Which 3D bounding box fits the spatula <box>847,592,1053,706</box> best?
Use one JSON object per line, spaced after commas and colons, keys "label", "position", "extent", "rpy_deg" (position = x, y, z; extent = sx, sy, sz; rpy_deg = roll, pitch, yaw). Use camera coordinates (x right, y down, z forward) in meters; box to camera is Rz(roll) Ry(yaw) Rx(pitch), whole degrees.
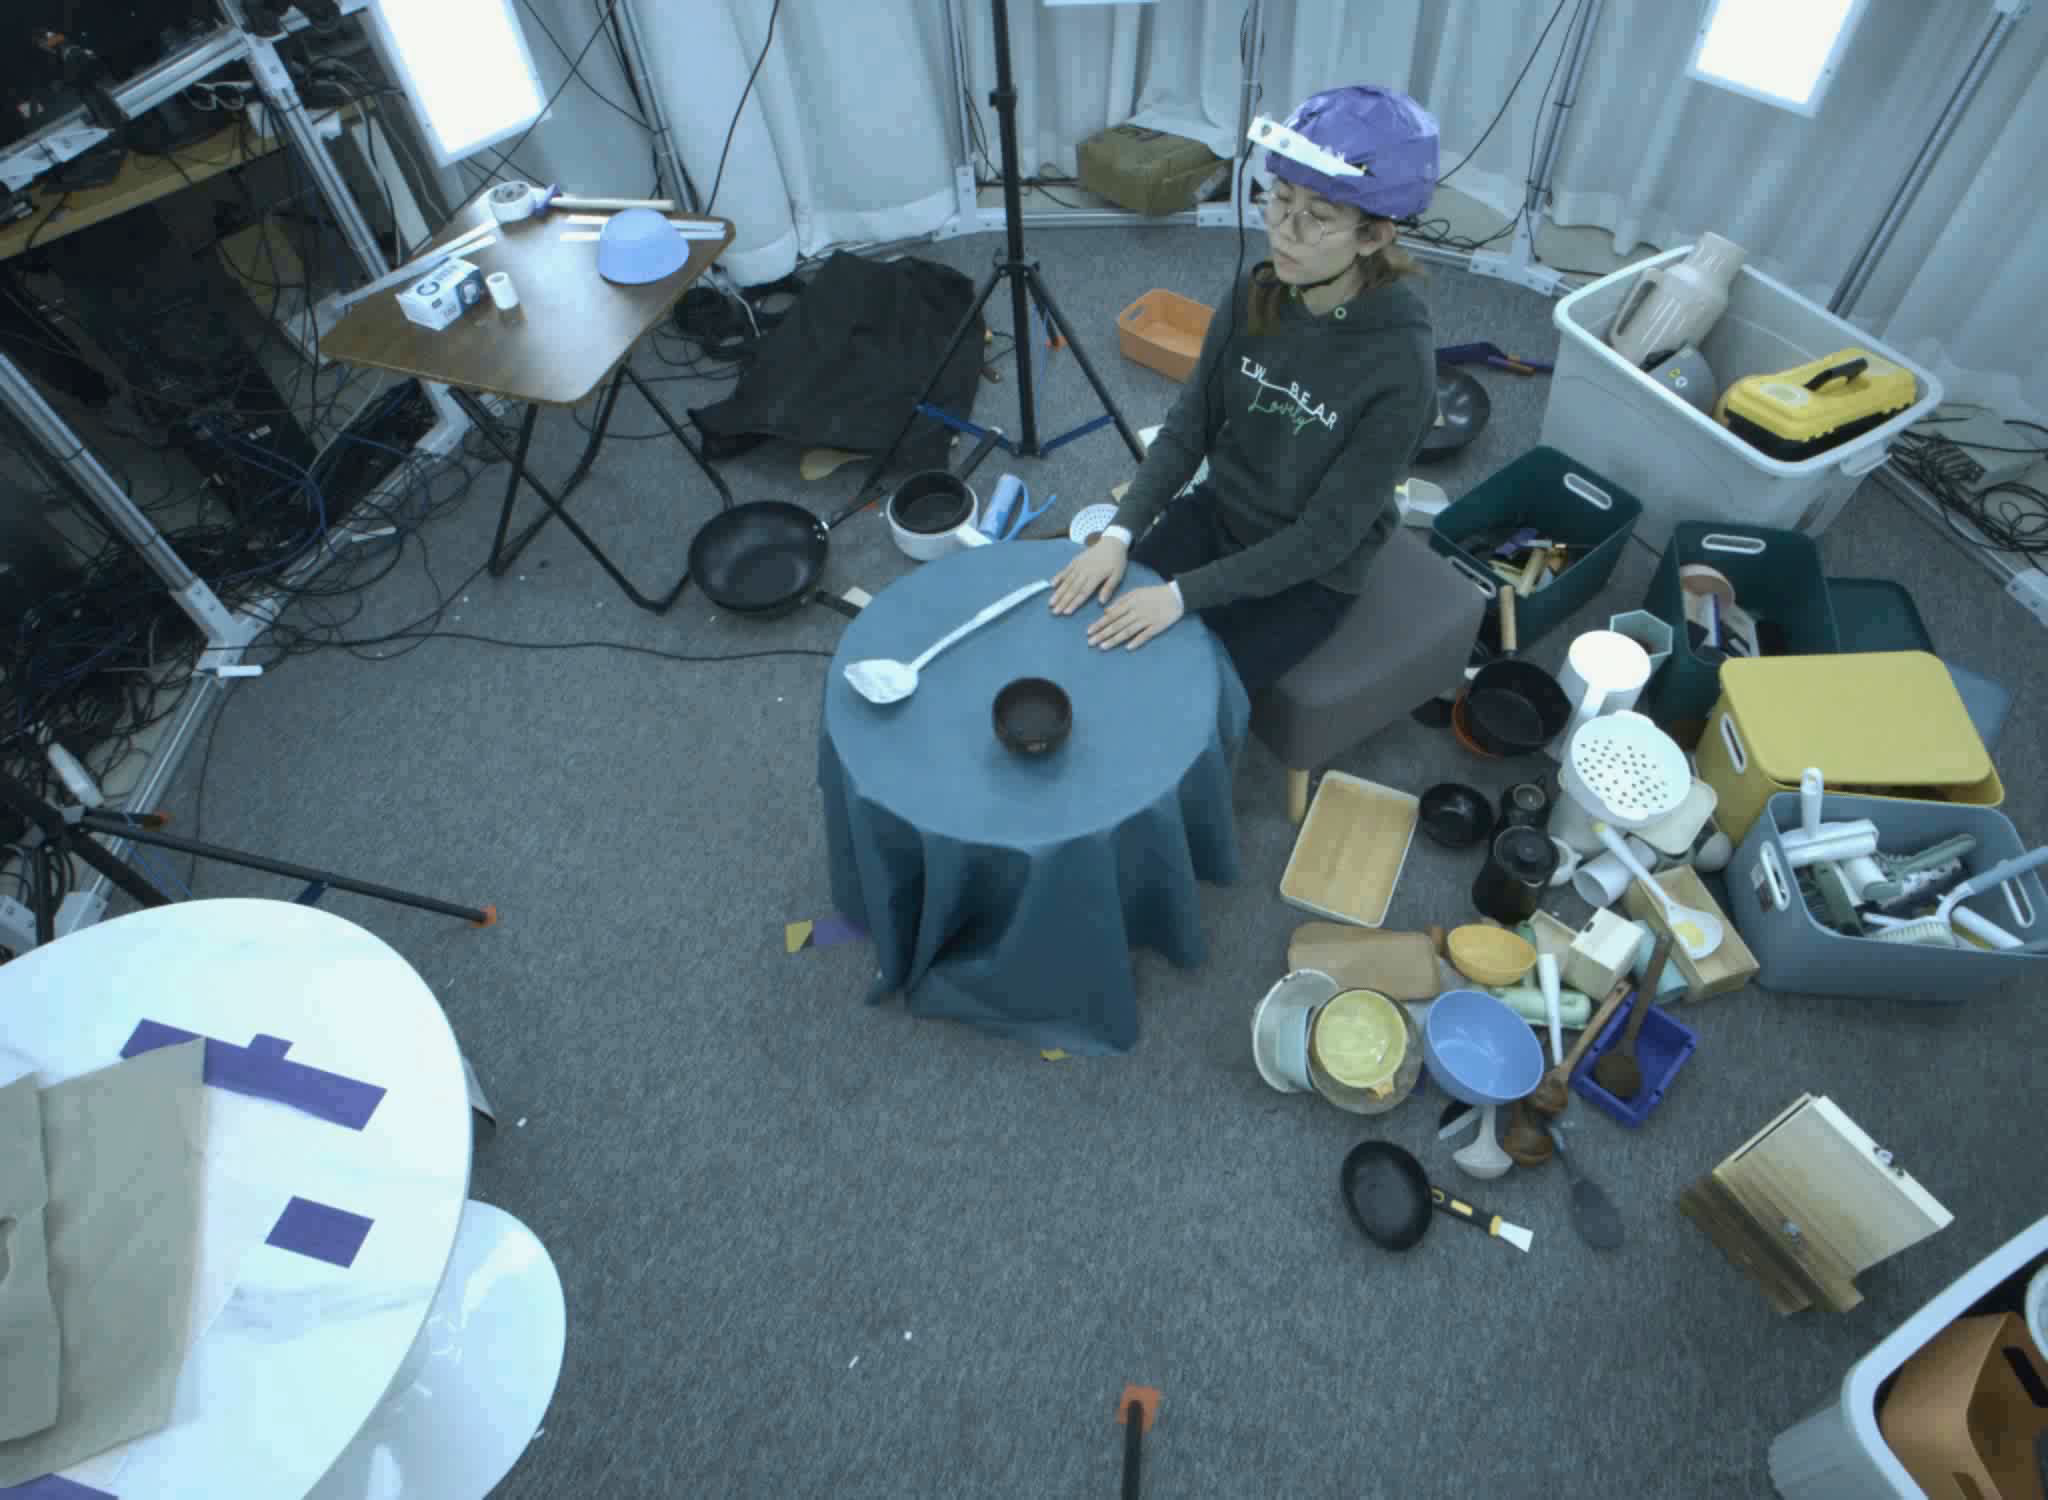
{"label": "spatula", "position": [-0.105, -0.170, 1.897], "extent": [0.368, 0.045, 0.097], "rpy_deg": [-34, 59, -20]}

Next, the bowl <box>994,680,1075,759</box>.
{"label": "bowl", "position": [0.015, -0.036, 1.779], "extent": [0.118, 0.070, 0.117], "rpy_deg": [1, 55, 0]}
